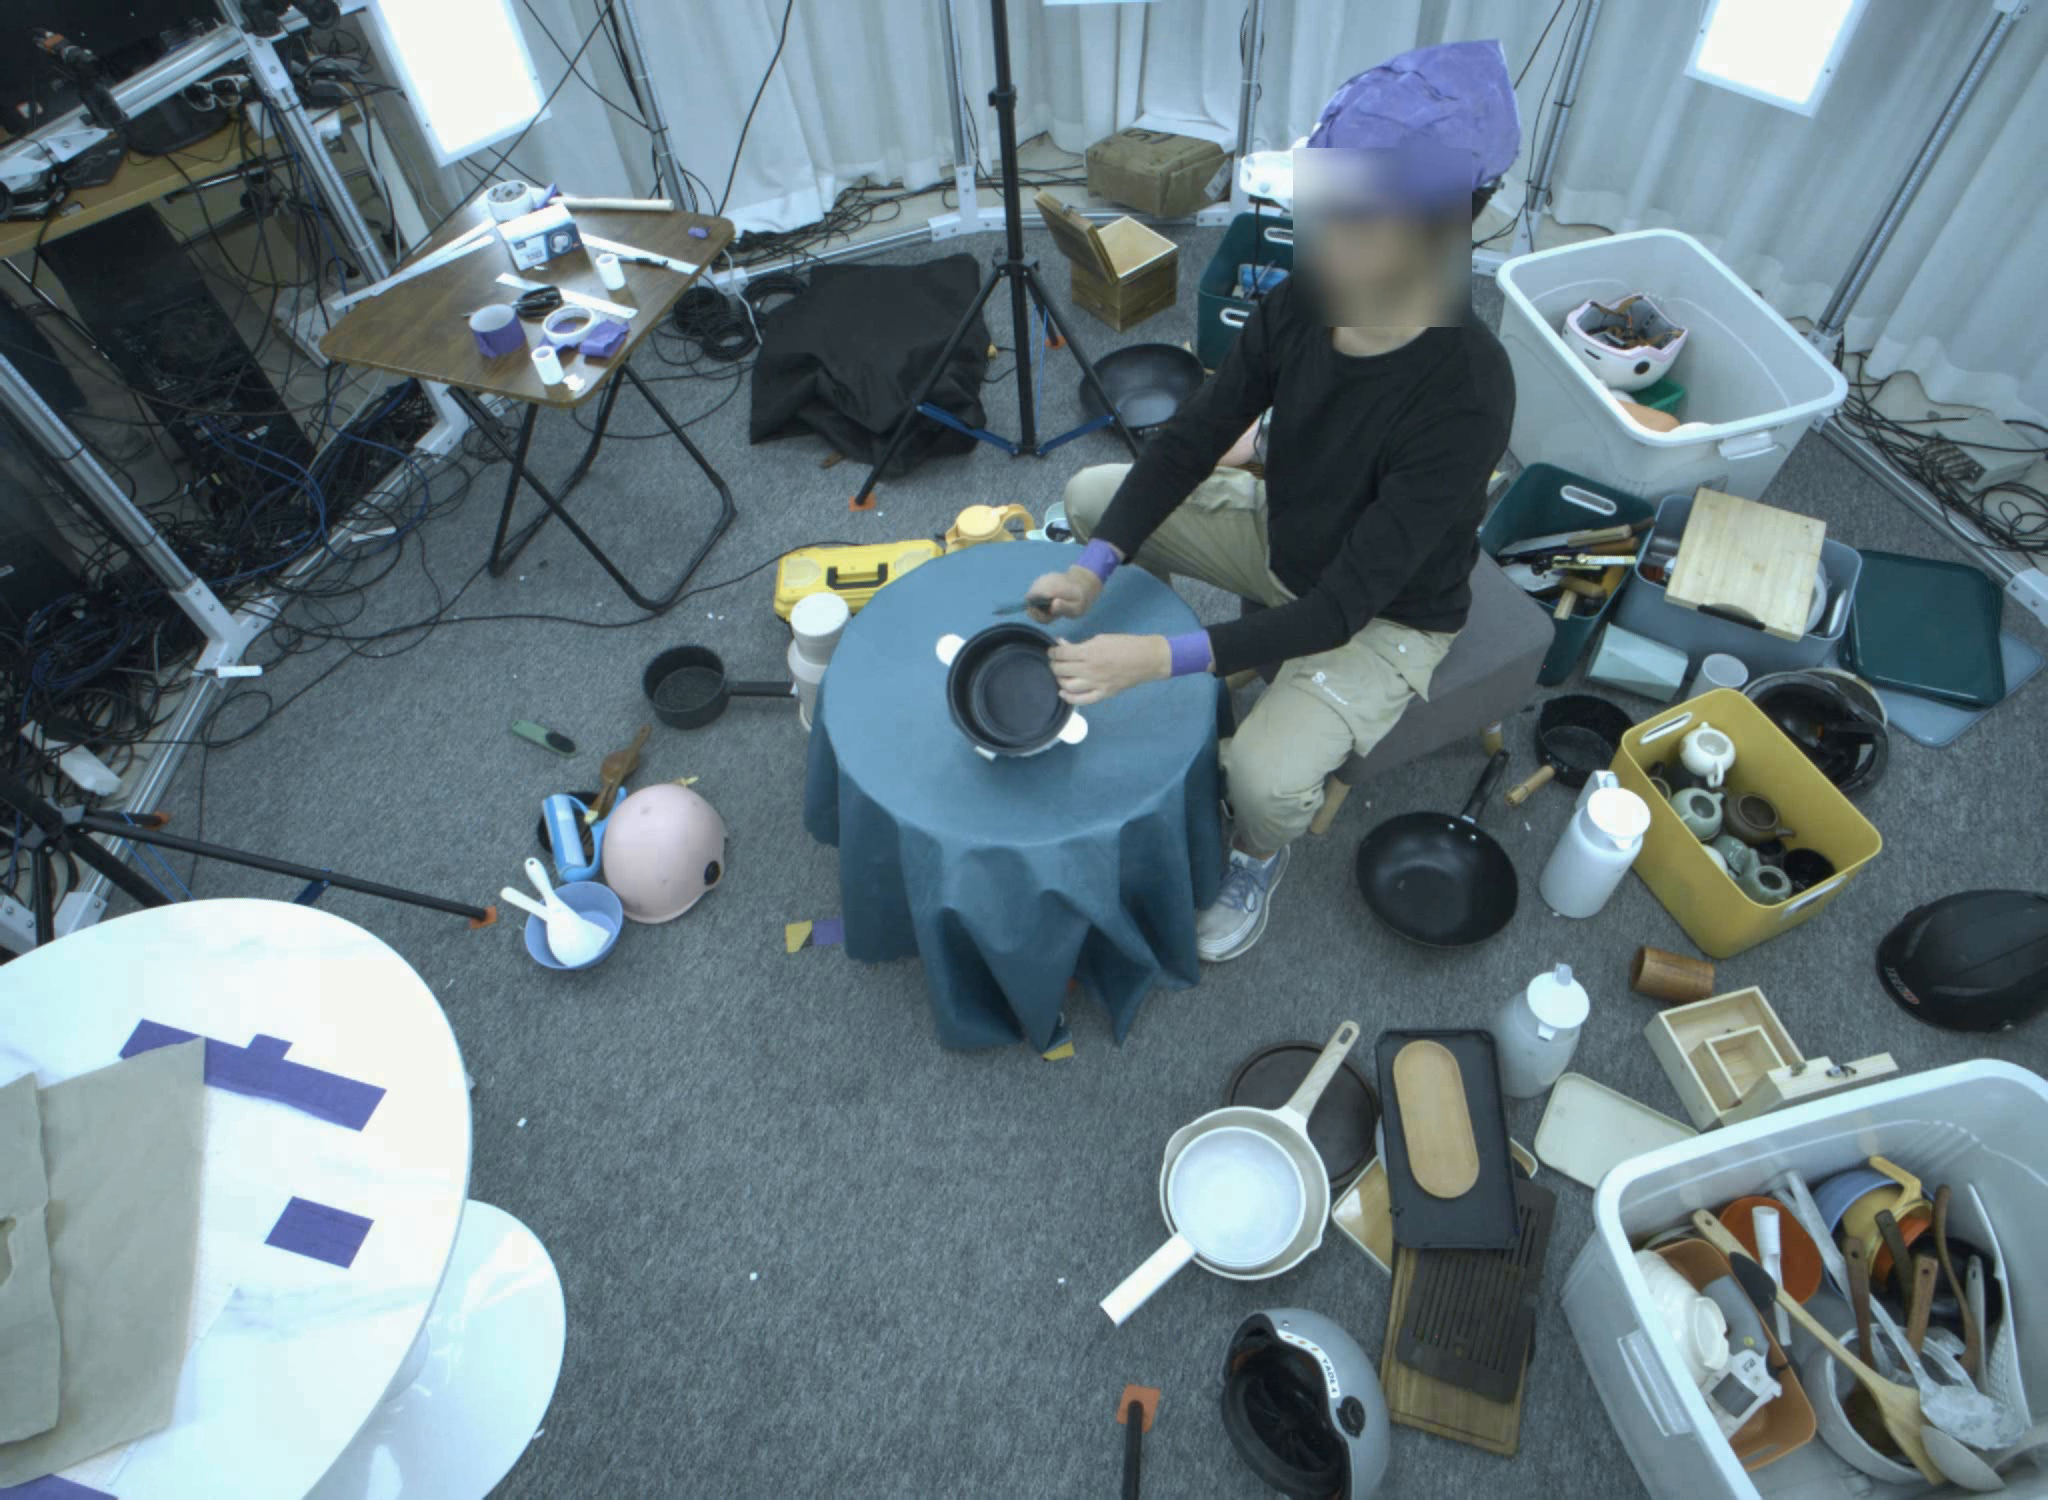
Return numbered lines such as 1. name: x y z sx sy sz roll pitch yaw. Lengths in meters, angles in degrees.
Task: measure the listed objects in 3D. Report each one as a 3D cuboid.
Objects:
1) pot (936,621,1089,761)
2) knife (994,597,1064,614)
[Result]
1. pot: -0.012 -0.075 1.724 0.239 0.143 0.190 32 88 7
2. knife: 0.012 -0.201 1.727 0.080 0.304 0.021 -13 94 14
